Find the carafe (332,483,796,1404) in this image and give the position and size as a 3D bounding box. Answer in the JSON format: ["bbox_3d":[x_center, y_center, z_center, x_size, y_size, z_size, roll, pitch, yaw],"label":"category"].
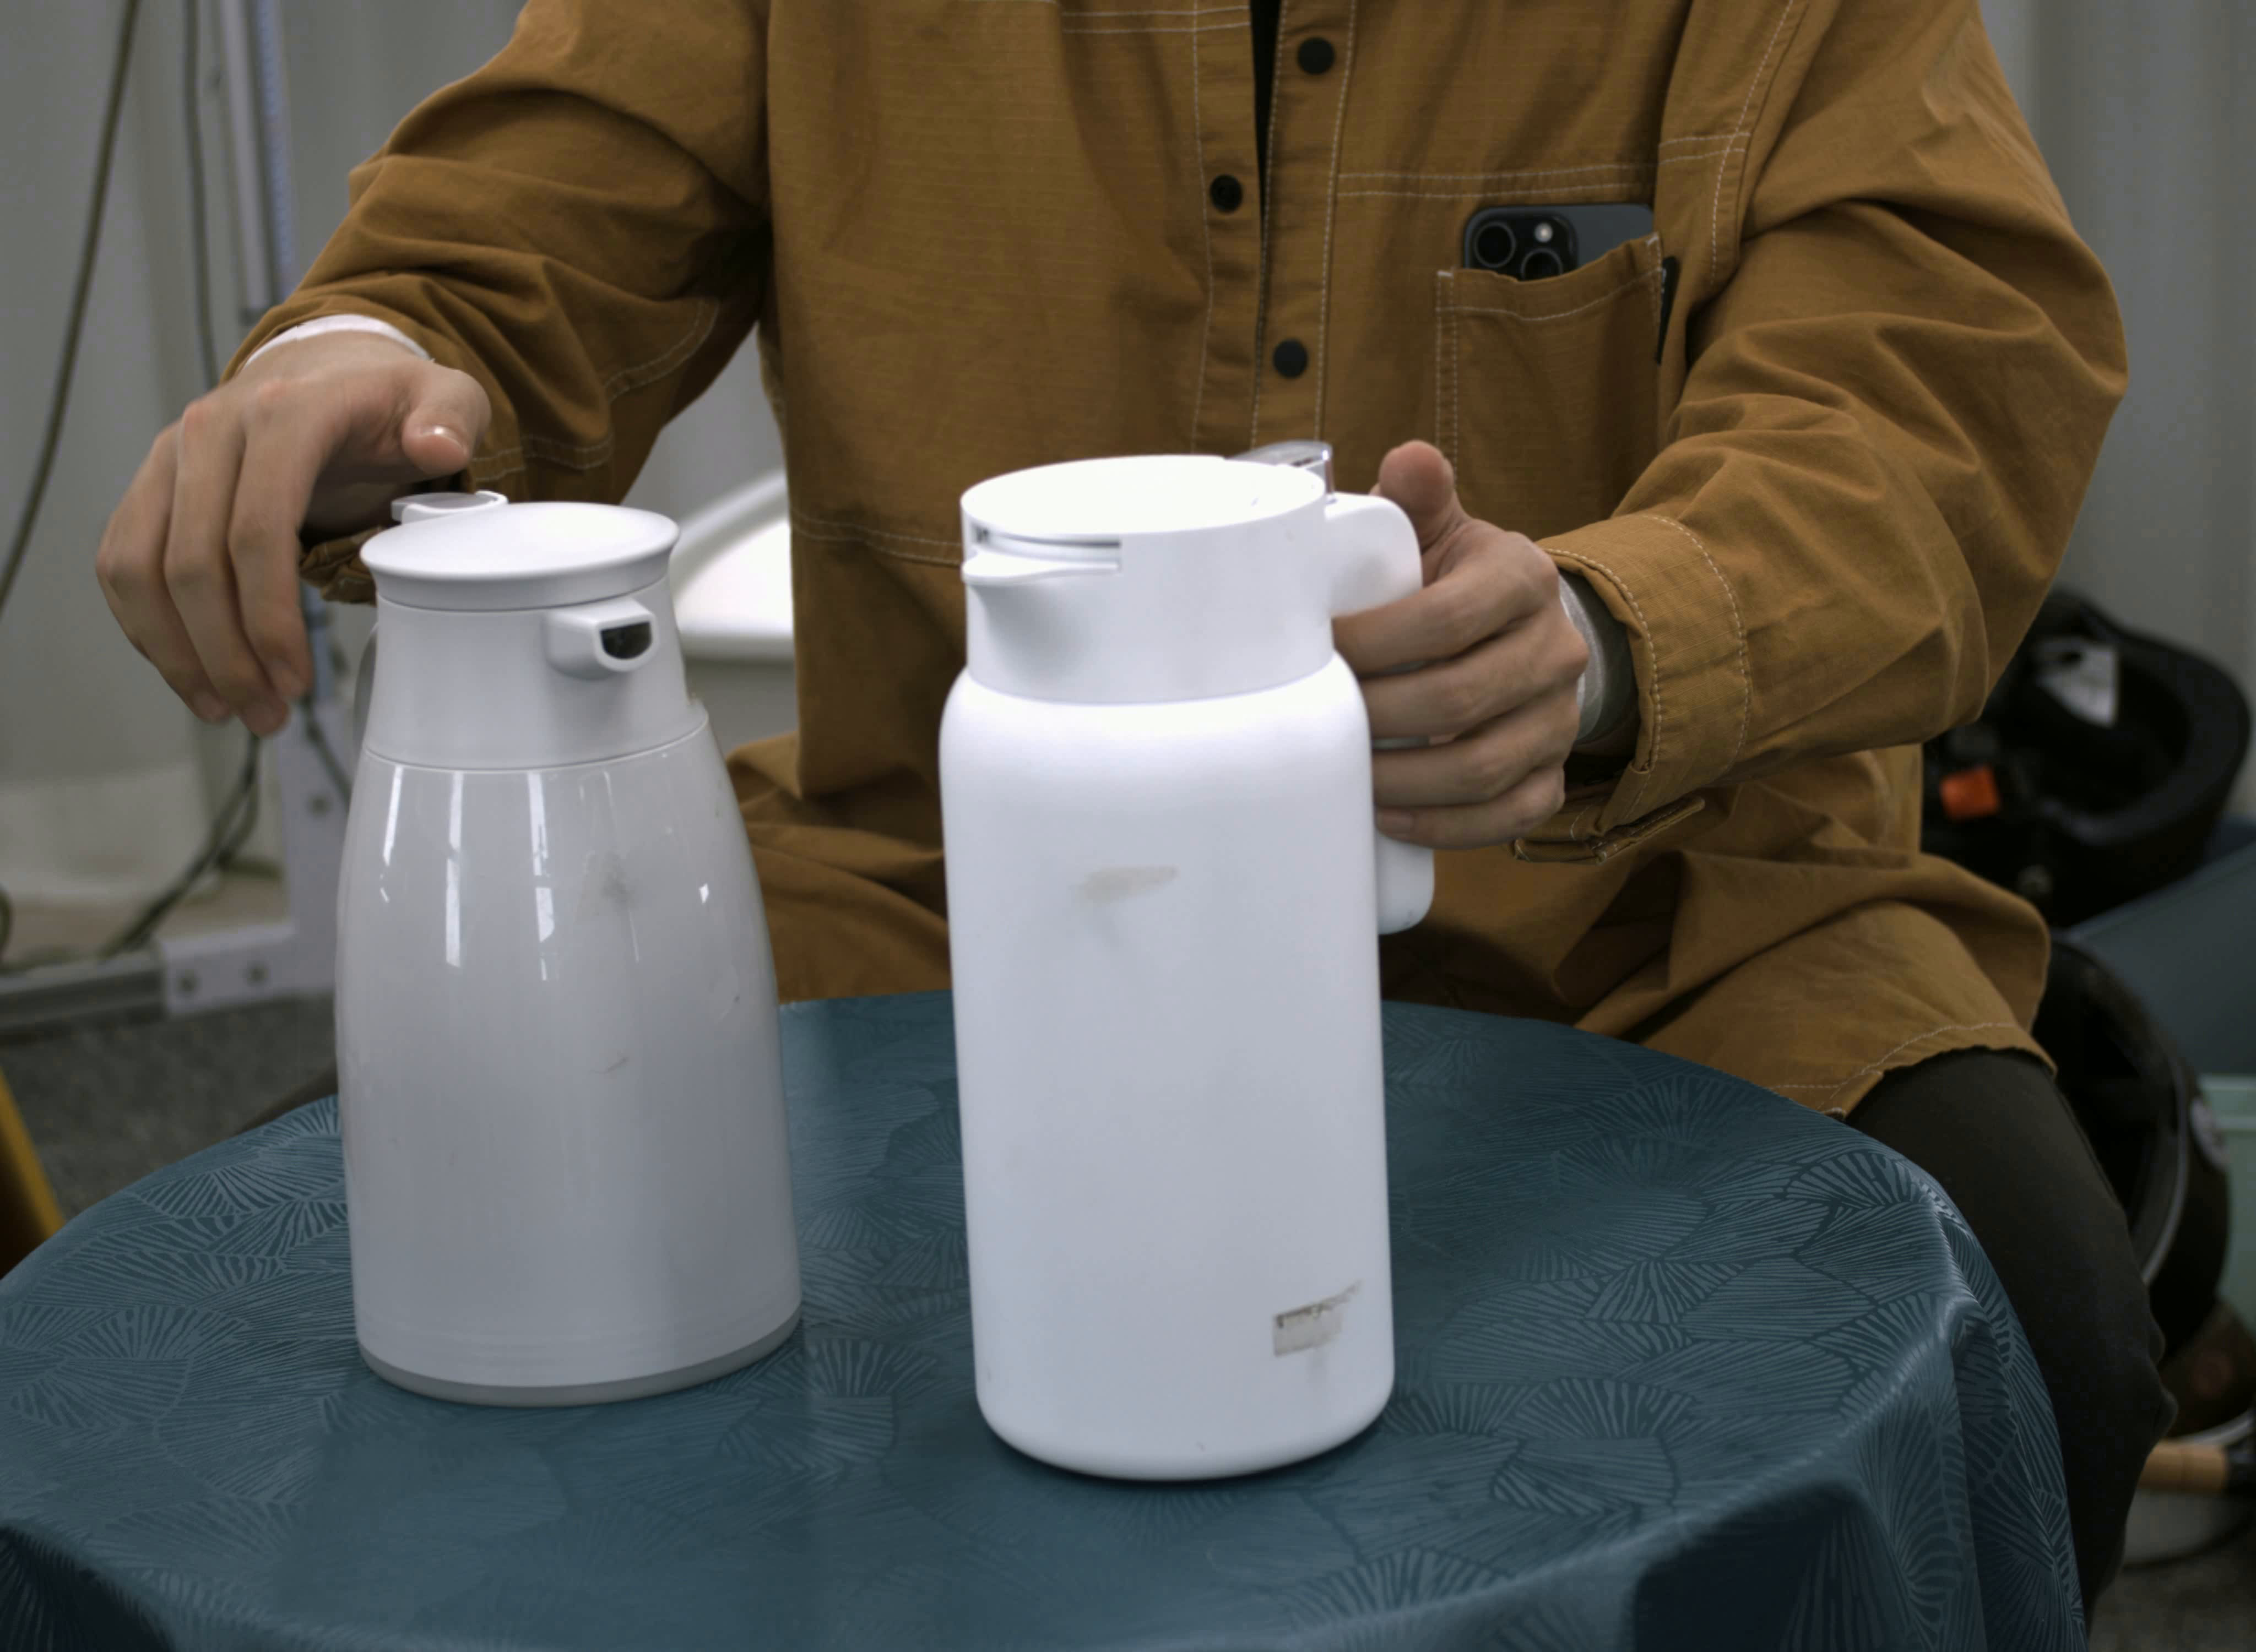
[{"bbox_3d":[-0.179,0.026,1.603,0.132,0.248,0.169,-11,15,-32],"label":"carafe"}]

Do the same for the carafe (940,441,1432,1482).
[{"bbox_3d":[0.020,0.032,1.505,0.124,0.268,0.172,6,16,40],"label":"carafe"}]
